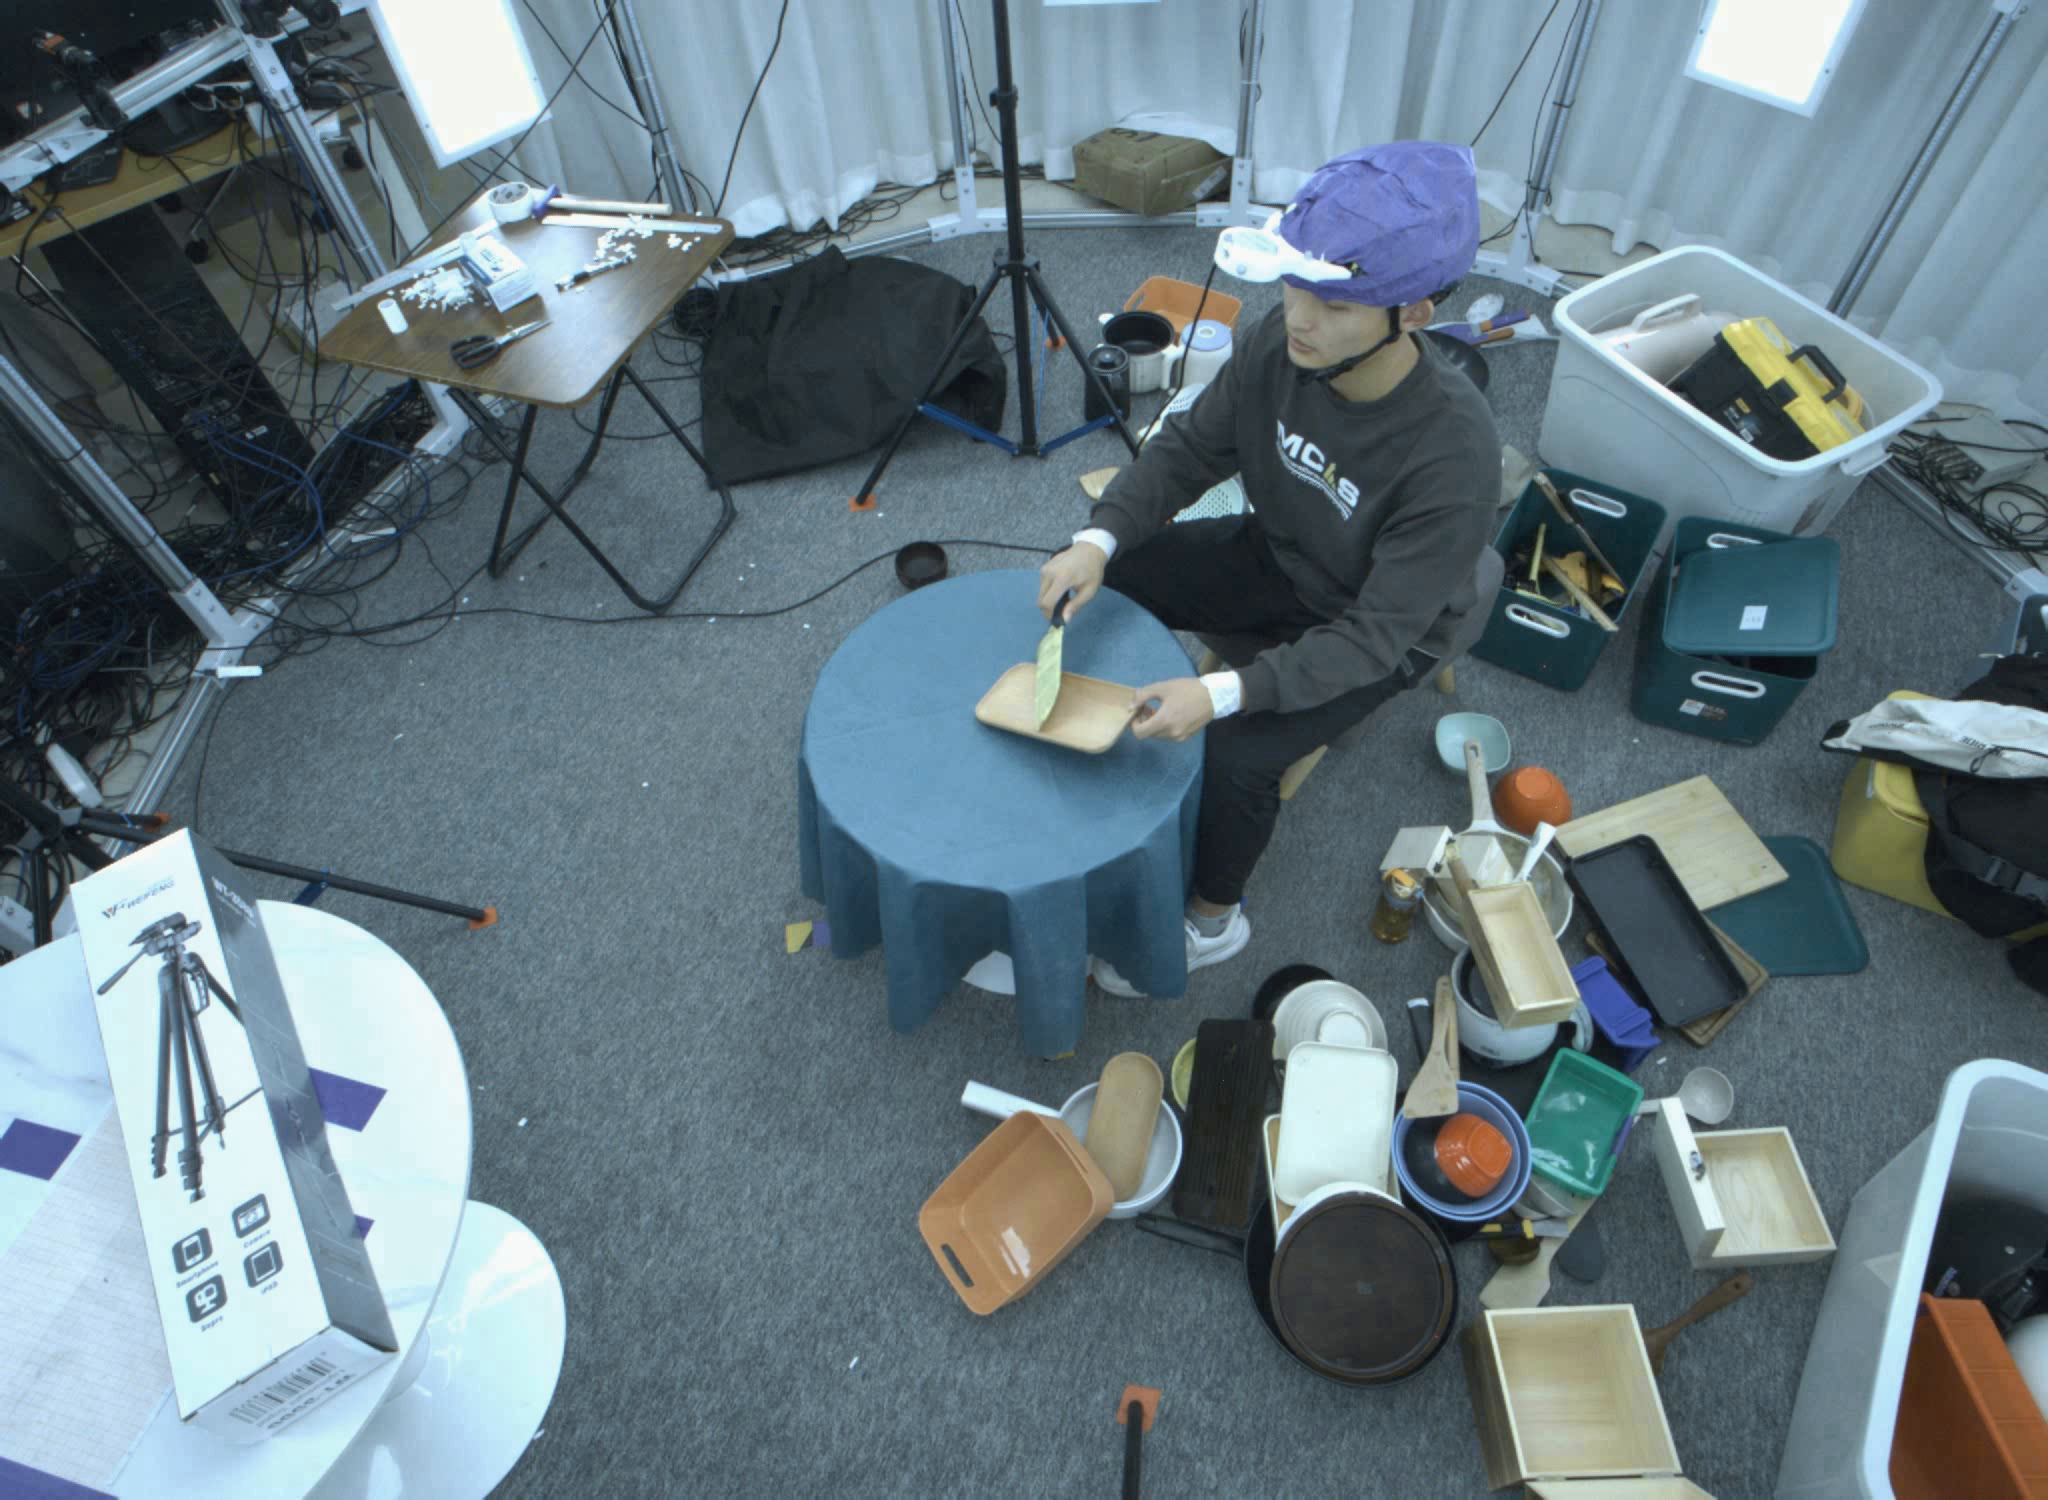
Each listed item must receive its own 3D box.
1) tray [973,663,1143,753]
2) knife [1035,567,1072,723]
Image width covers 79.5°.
[{"bbox_3d":[0.047,-0.062,1.783,0.245,0.023,0.131,16,51,36],"label":"tray"},{"bbox_3d":[0.041,-0.157,1.821,0.028,0.080,0.287,24,53,-22],"label":"knife"}]
